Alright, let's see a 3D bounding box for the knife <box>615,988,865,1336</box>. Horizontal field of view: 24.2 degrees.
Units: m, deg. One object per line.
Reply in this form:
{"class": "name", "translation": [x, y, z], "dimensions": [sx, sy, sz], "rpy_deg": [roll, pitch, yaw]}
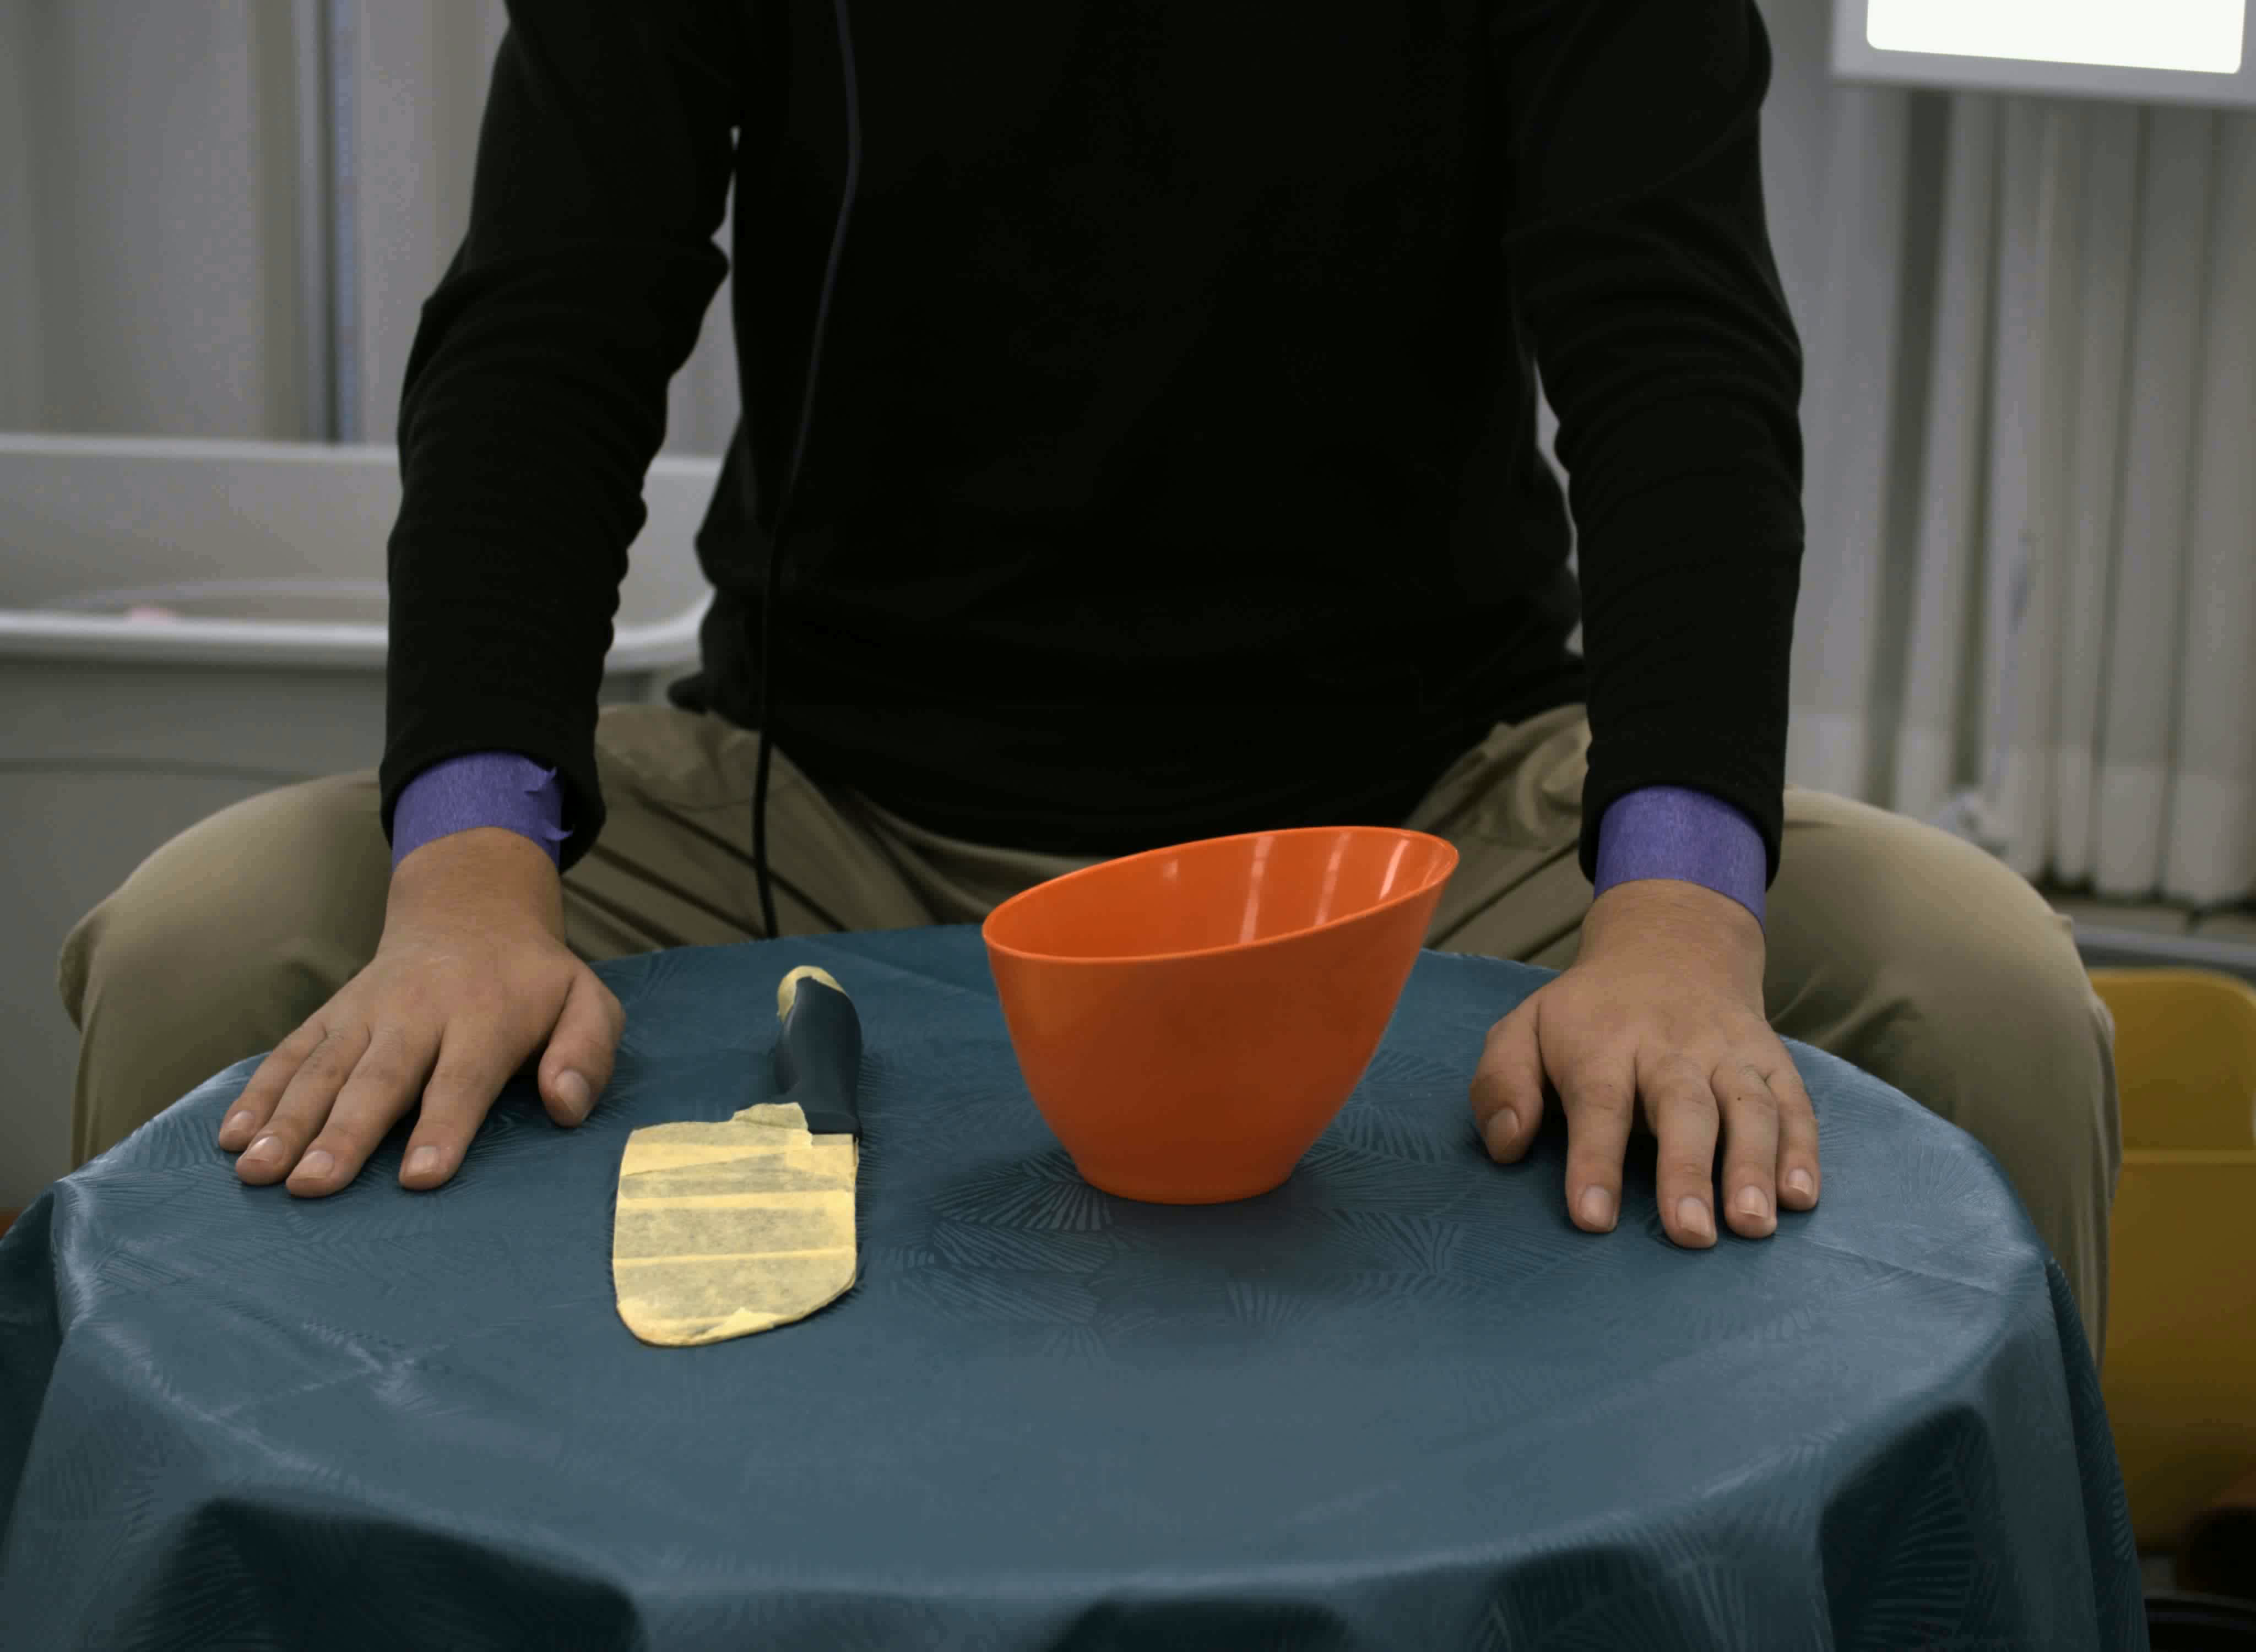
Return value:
{"class": "knife", "translation": [-0.117, 0.103, 1.627], "dimensions": [0.081, 0.027, 0.288], "rpy_deg": [2, 16, 0]}

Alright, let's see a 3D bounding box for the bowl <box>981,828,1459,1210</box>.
{"class": "bowl", "translation": [0.028, 0.060, 1.623], "dimensions": [0.147, 0.105, 0.147], "rpy_deg": [0, 16, 1]}
